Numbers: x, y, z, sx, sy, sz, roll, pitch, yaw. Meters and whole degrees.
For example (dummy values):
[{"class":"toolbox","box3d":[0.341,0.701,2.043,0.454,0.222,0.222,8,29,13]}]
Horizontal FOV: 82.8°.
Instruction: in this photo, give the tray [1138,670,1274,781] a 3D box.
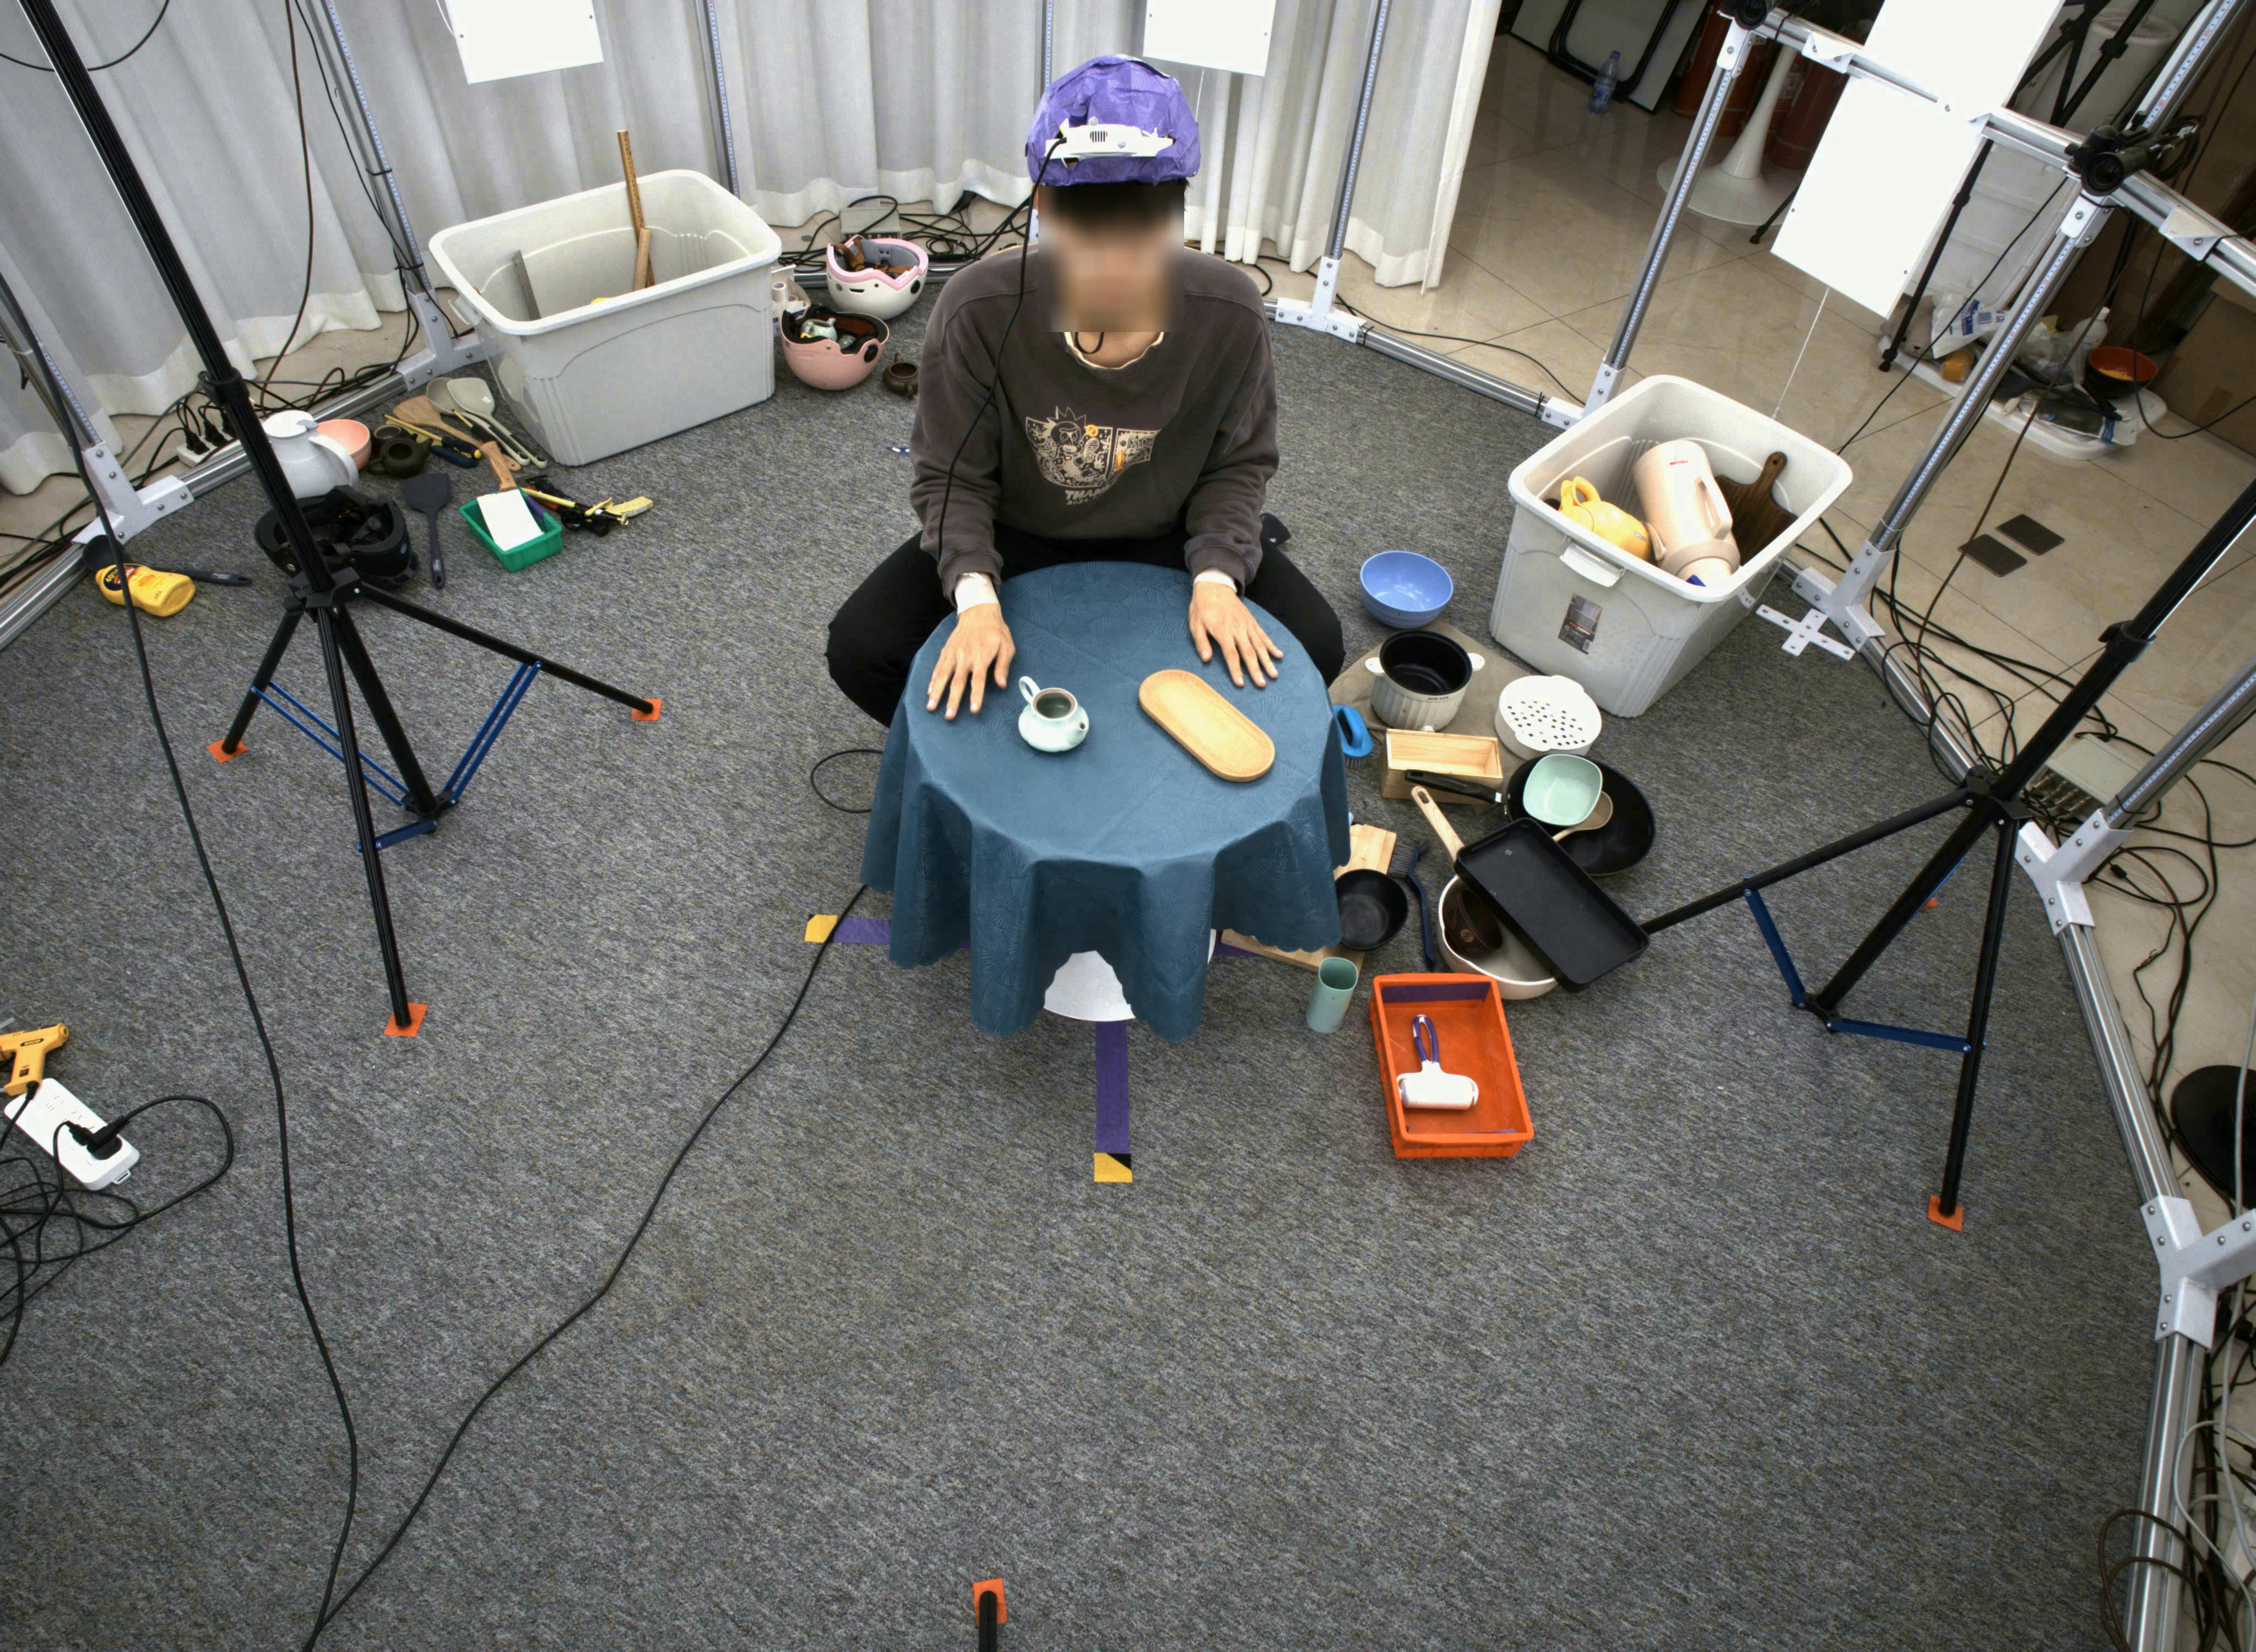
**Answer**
[{"class":"tray","box3d":[0.106,-0.142,1.784,0.102,0.020,0.235,-31,56,-27]}]

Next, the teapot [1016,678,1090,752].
[{"class":"teapot","box3d":[-0.104,-0.151,1.751,0.139,0.060,0.097,38,58,26]}]
